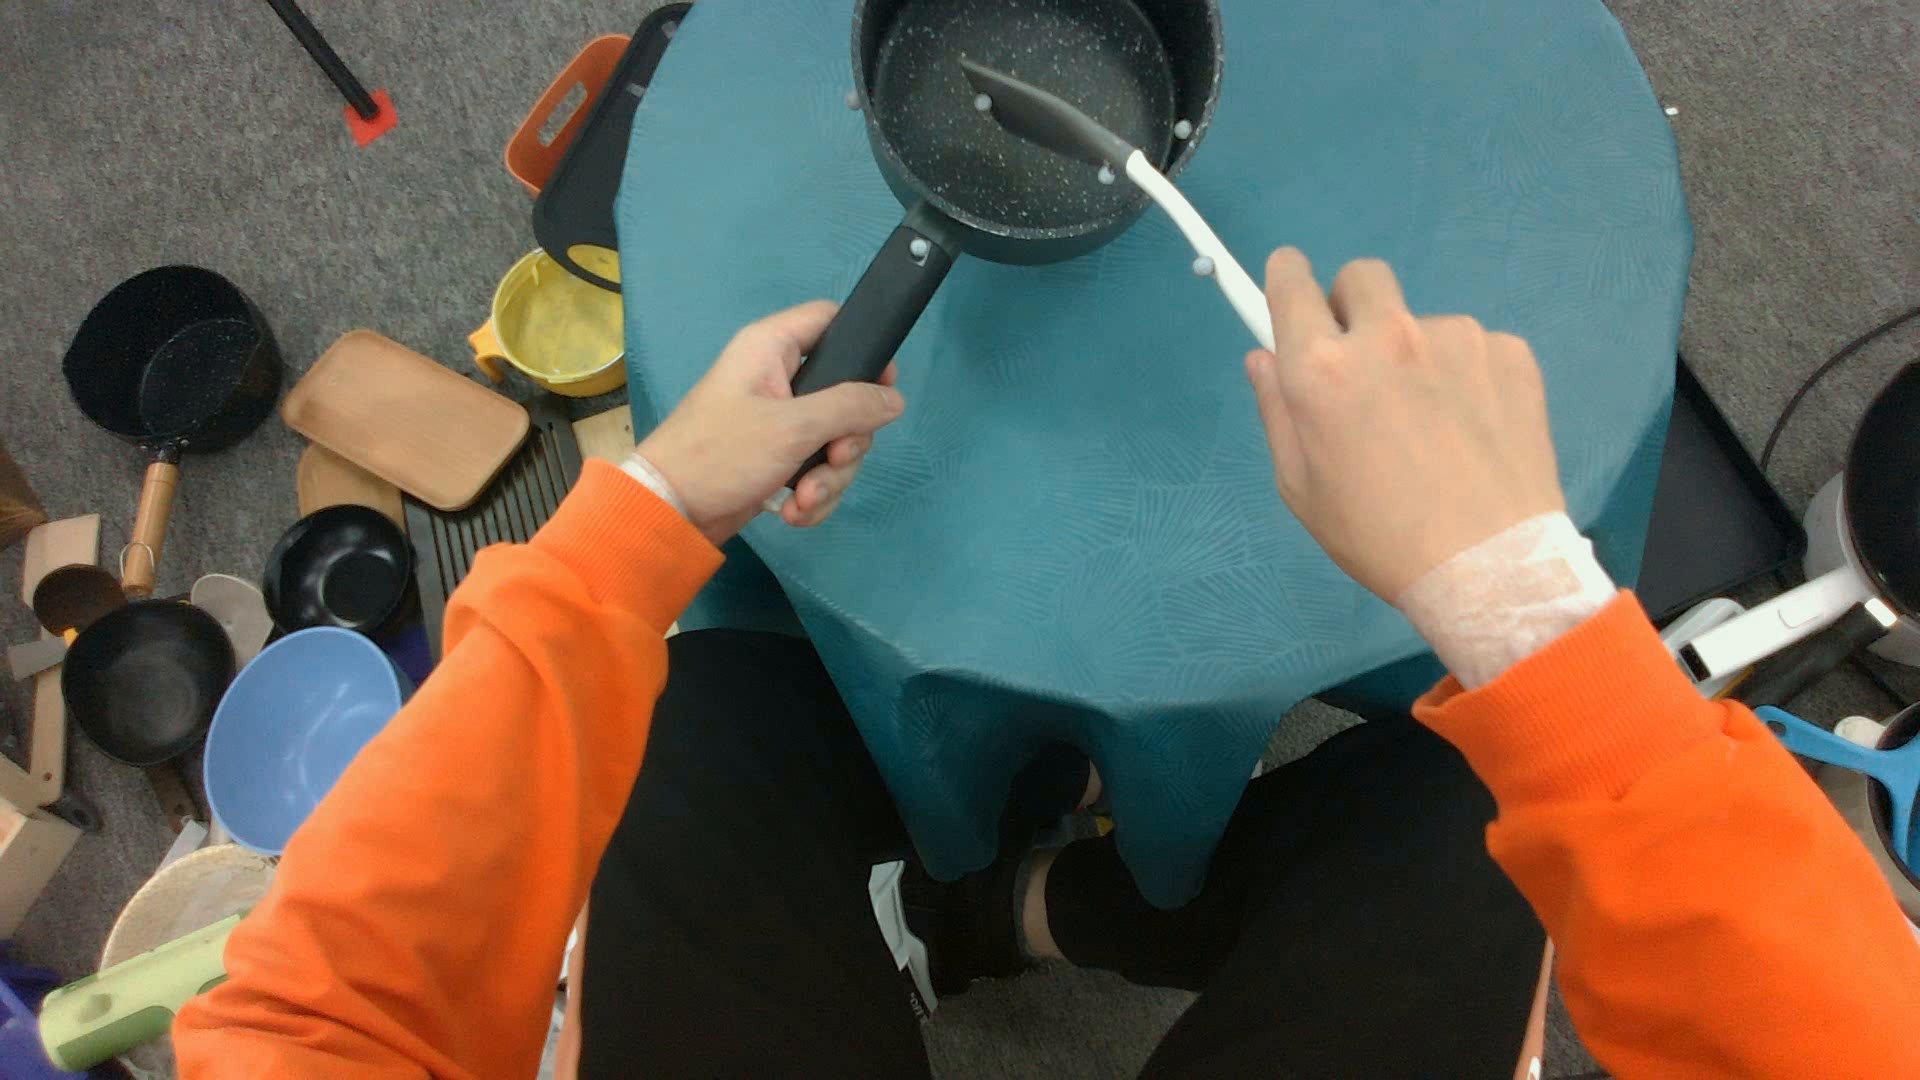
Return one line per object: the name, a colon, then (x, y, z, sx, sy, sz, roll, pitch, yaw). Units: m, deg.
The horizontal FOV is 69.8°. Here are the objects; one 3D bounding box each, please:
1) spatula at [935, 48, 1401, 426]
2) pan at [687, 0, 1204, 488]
spatula: (0.079, -0.145, 0.595, 0.032, 0.059, 0.288, -50, 53, 14)
pan: (-0.017, -0.161, 0.659, 0.172, 0.086, 0.329, 34, 84, 1)
